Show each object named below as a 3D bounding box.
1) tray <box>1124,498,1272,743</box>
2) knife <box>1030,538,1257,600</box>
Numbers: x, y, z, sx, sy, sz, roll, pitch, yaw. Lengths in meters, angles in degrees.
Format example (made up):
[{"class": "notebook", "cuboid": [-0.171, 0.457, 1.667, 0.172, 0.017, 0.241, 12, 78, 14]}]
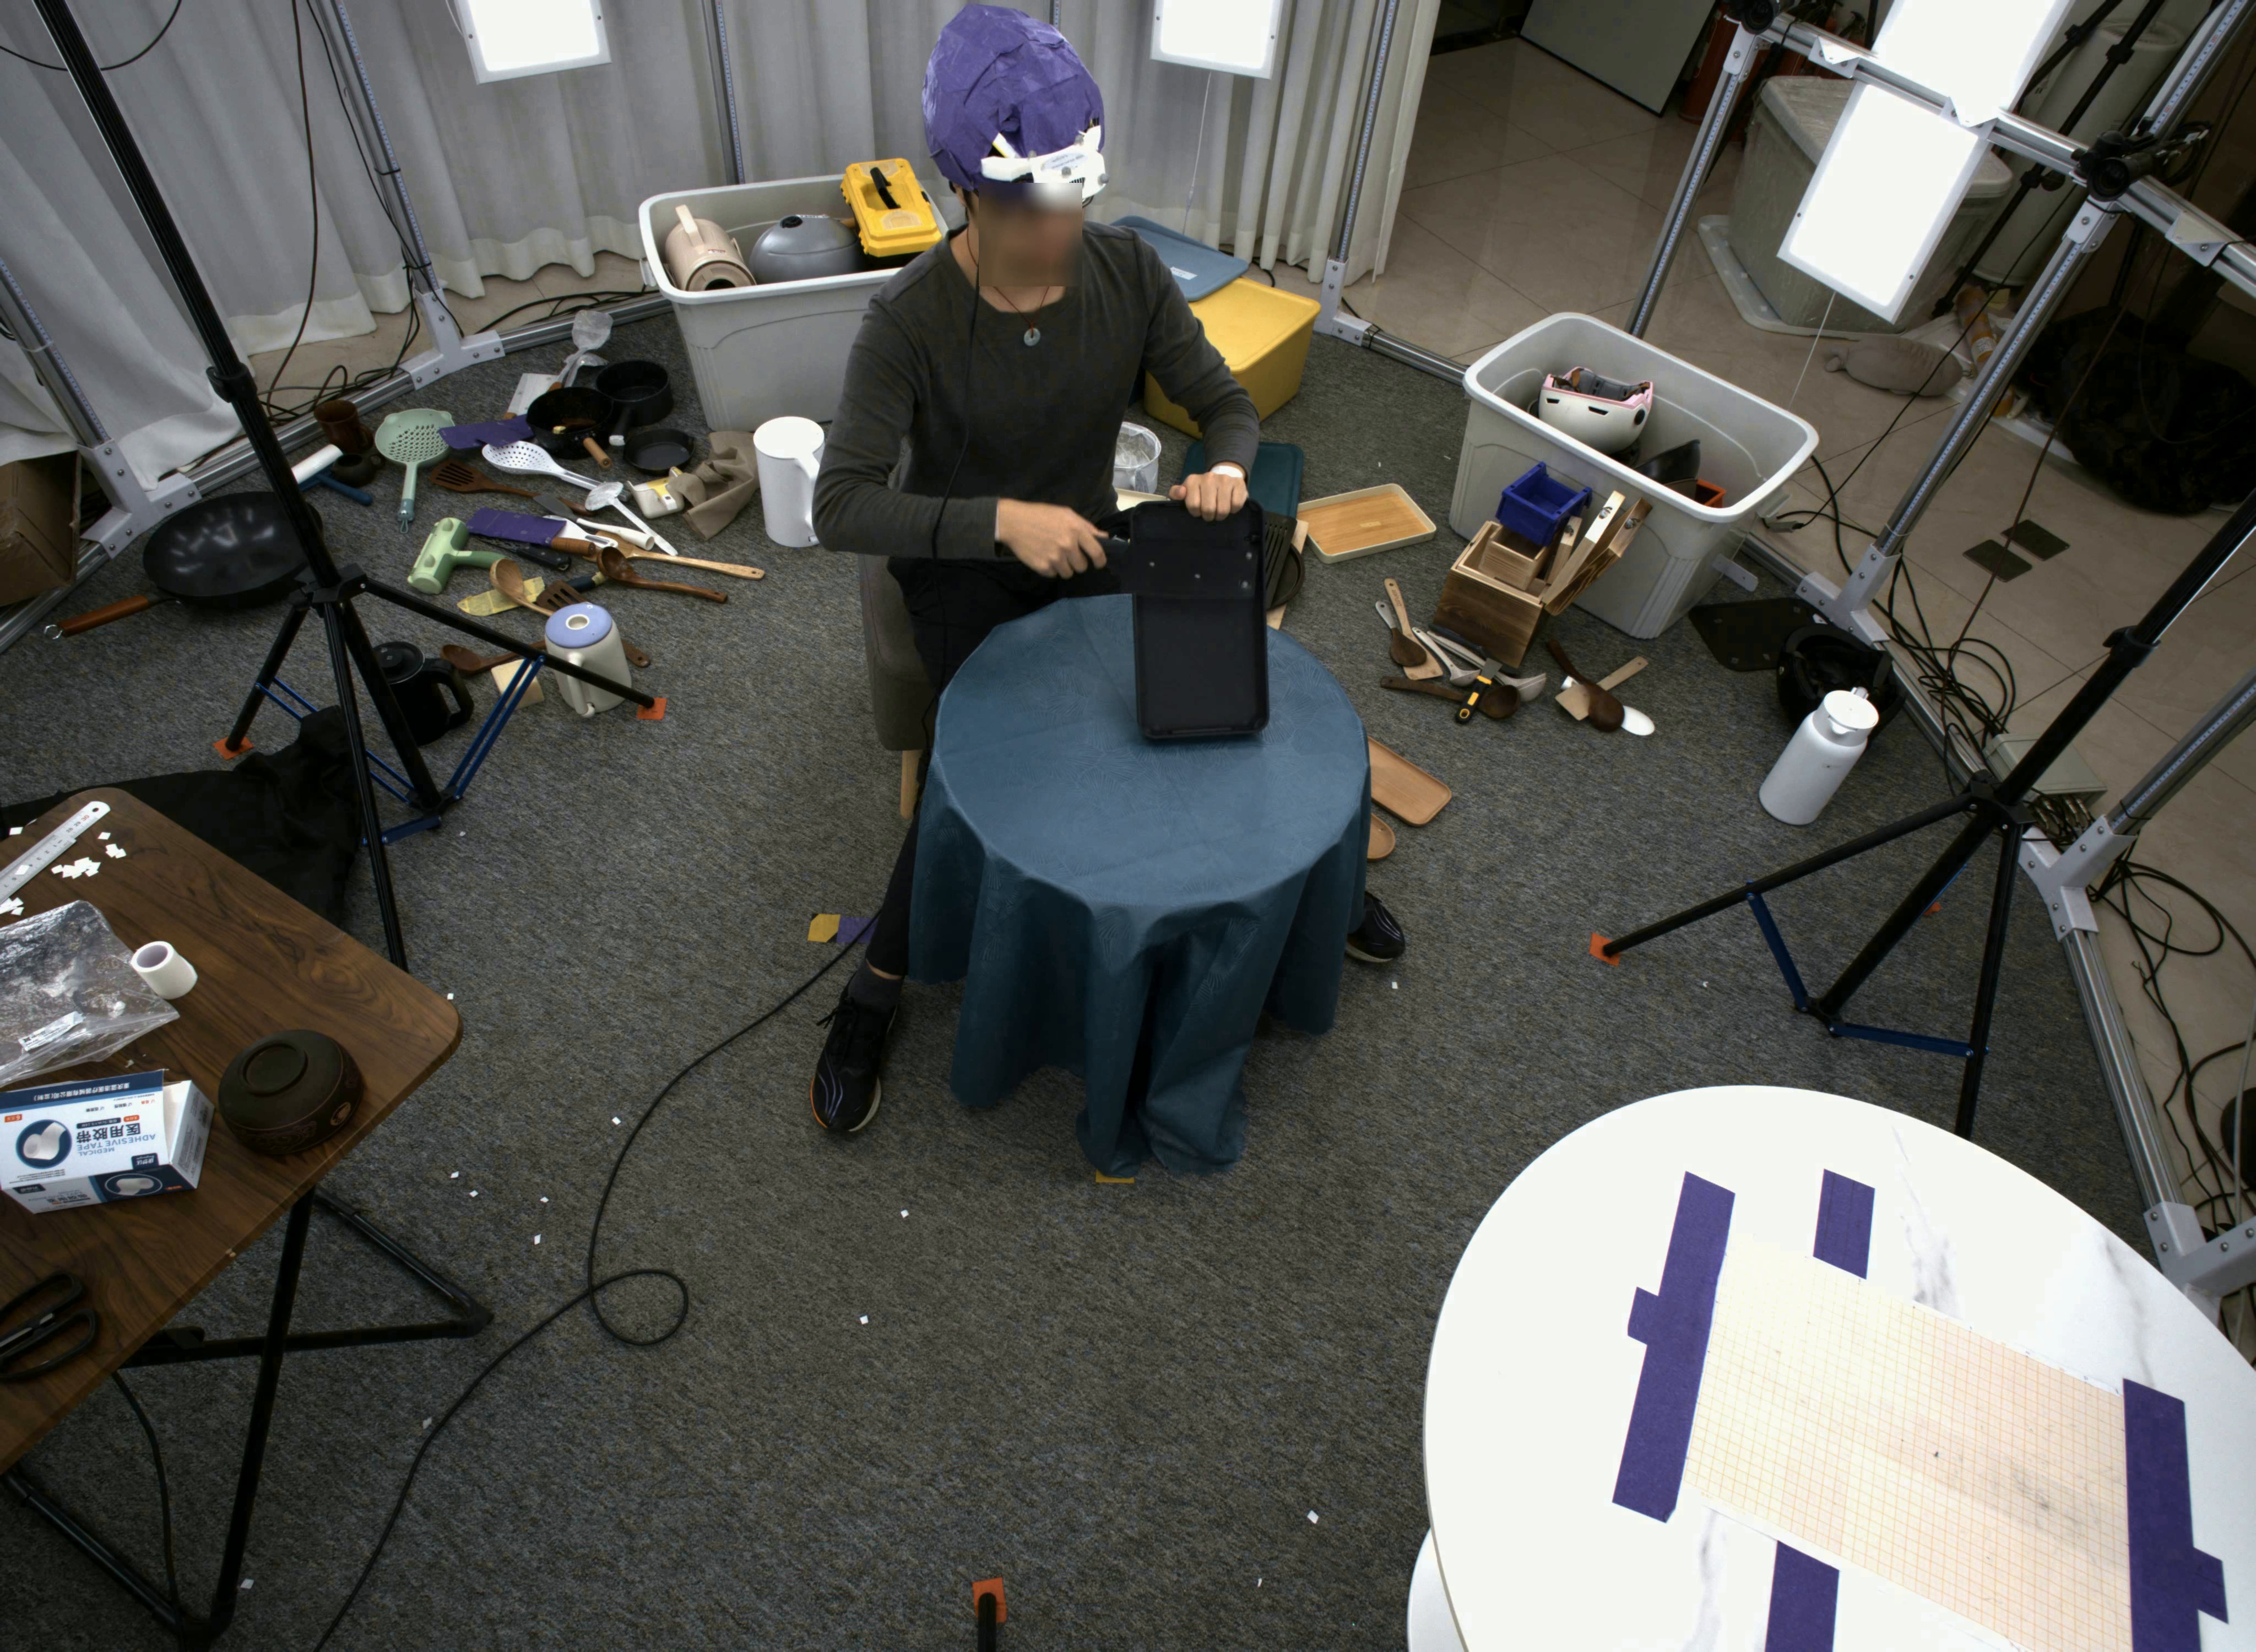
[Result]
[{"class": "tray", "cuboid": [0.096, -0.278, 1.750, 0.184, 0.315, 0.037, -6, 9, -7]}, {"class": "knife", "cuboid": [0.022, -0.342, 1.710, 0.302, 0.080, 0.021, 8, 12, -4]}]
